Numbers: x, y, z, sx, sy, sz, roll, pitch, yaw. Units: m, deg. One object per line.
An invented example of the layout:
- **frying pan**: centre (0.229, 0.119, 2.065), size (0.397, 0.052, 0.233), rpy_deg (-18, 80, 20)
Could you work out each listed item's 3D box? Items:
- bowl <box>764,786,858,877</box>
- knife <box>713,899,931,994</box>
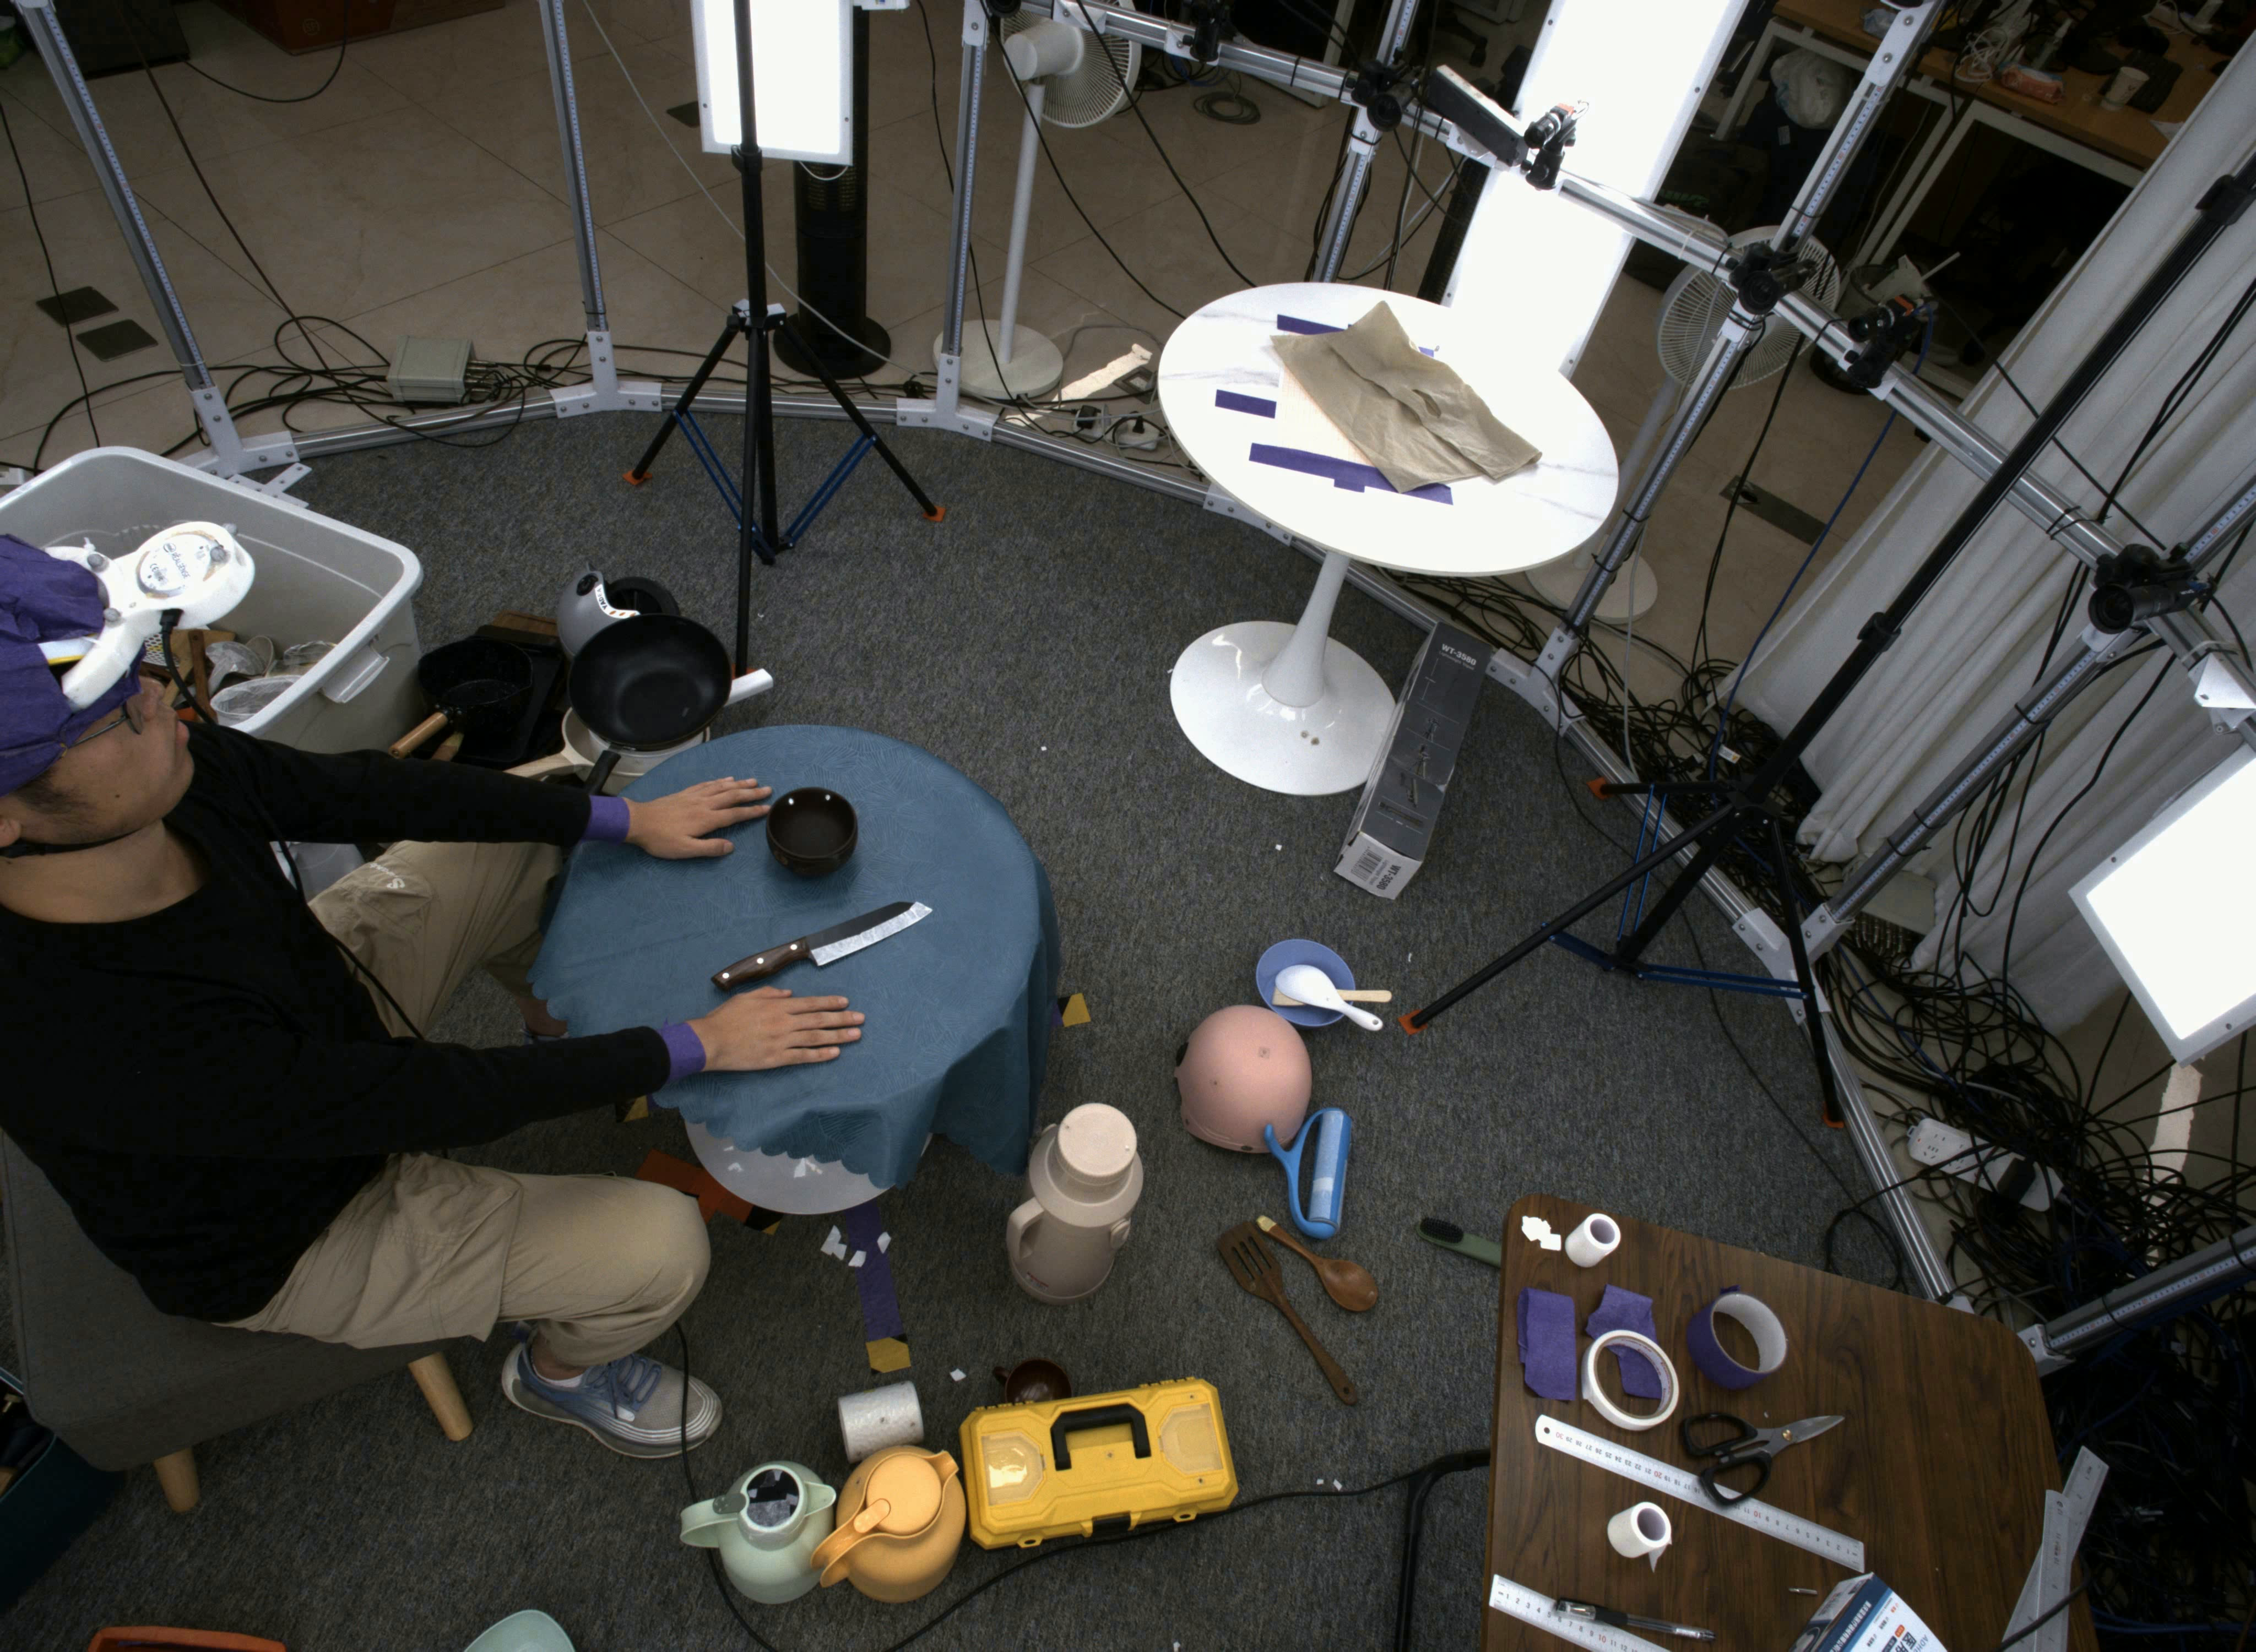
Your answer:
- **bowl**: centre (-0.408, 0.014, 1.670), size (0.118, 0.071, 0.116), rpy_deg (7, 54, -8)
- **knife**: centre (-0.375, 0.146, 1.616), size (0.291, 0.020, 0.049), rpy_deg (-20, 66, -29)
